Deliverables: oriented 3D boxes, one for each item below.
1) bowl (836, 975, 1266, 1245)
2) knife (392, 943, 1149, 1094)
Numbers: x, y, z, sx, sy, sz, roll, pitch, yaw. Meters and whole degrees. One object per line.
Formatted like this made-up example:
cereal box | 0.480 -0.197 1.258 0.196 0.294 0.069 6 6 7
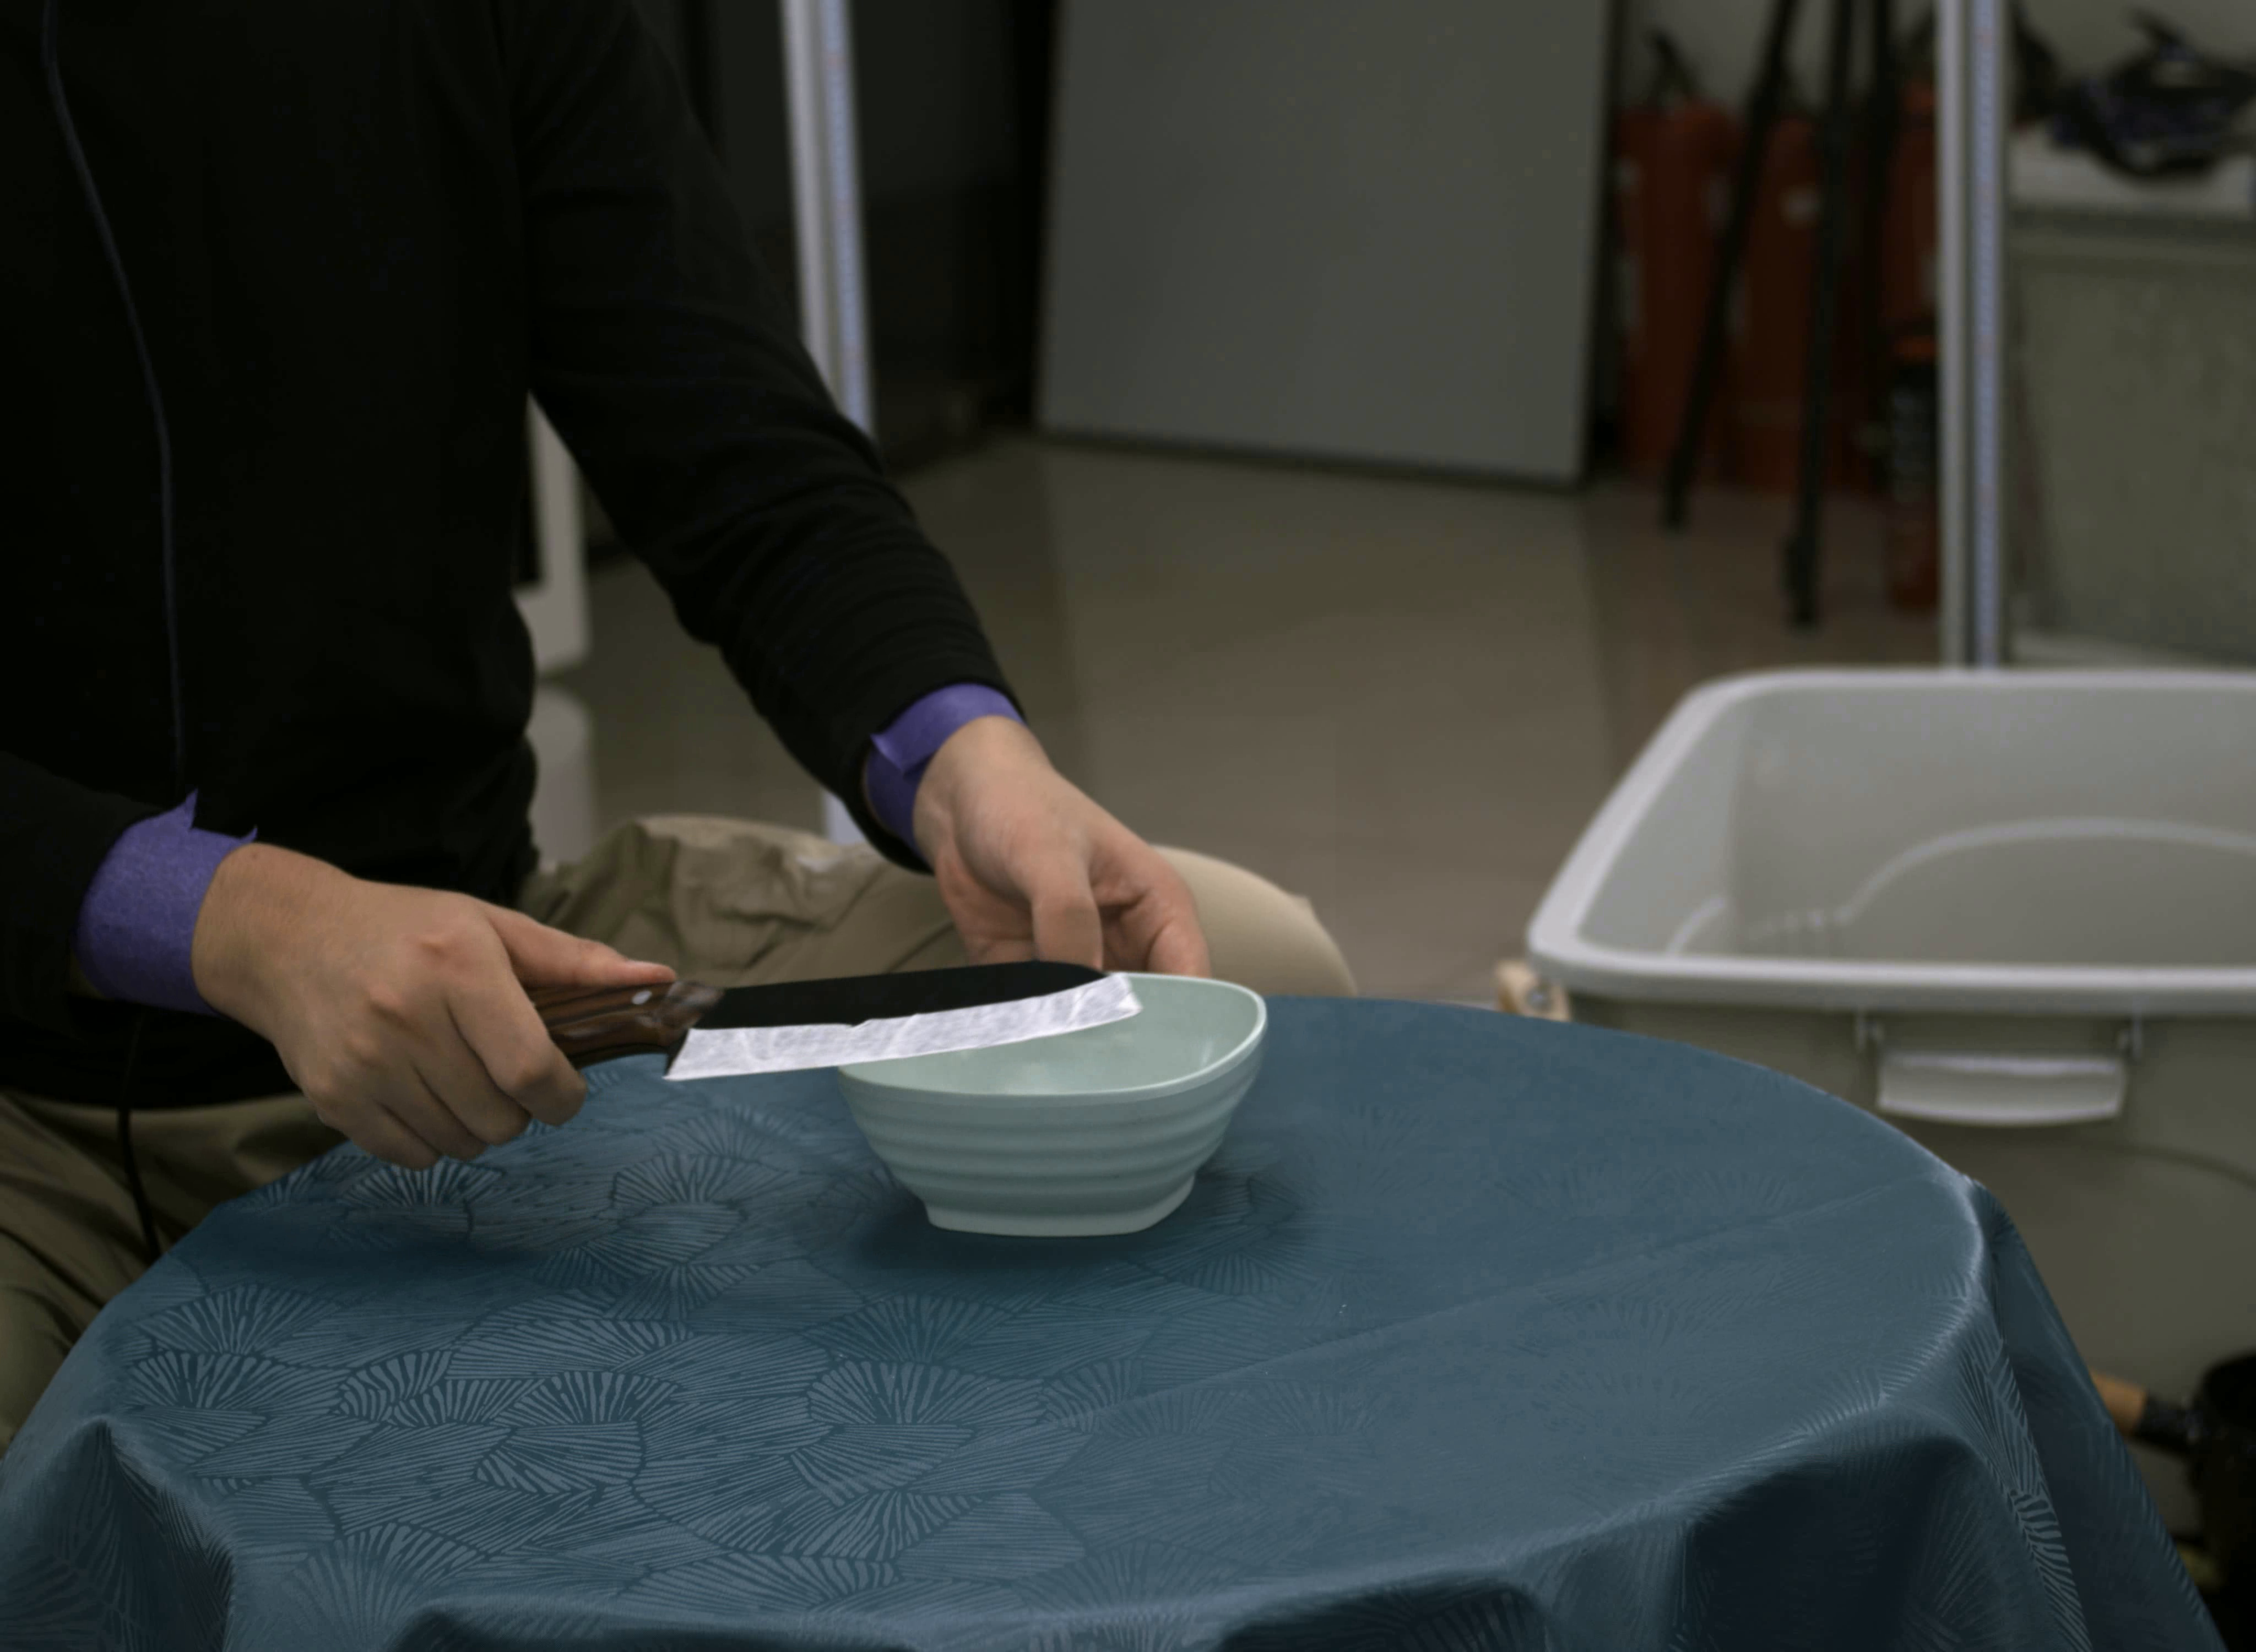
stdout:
bowl | -0.024 0.096 1.768 0.149 0.059 0.152 -3 15 0
knife | -0.117 0.063 1.713 0.290 0.020 0.050 -6 39 30
